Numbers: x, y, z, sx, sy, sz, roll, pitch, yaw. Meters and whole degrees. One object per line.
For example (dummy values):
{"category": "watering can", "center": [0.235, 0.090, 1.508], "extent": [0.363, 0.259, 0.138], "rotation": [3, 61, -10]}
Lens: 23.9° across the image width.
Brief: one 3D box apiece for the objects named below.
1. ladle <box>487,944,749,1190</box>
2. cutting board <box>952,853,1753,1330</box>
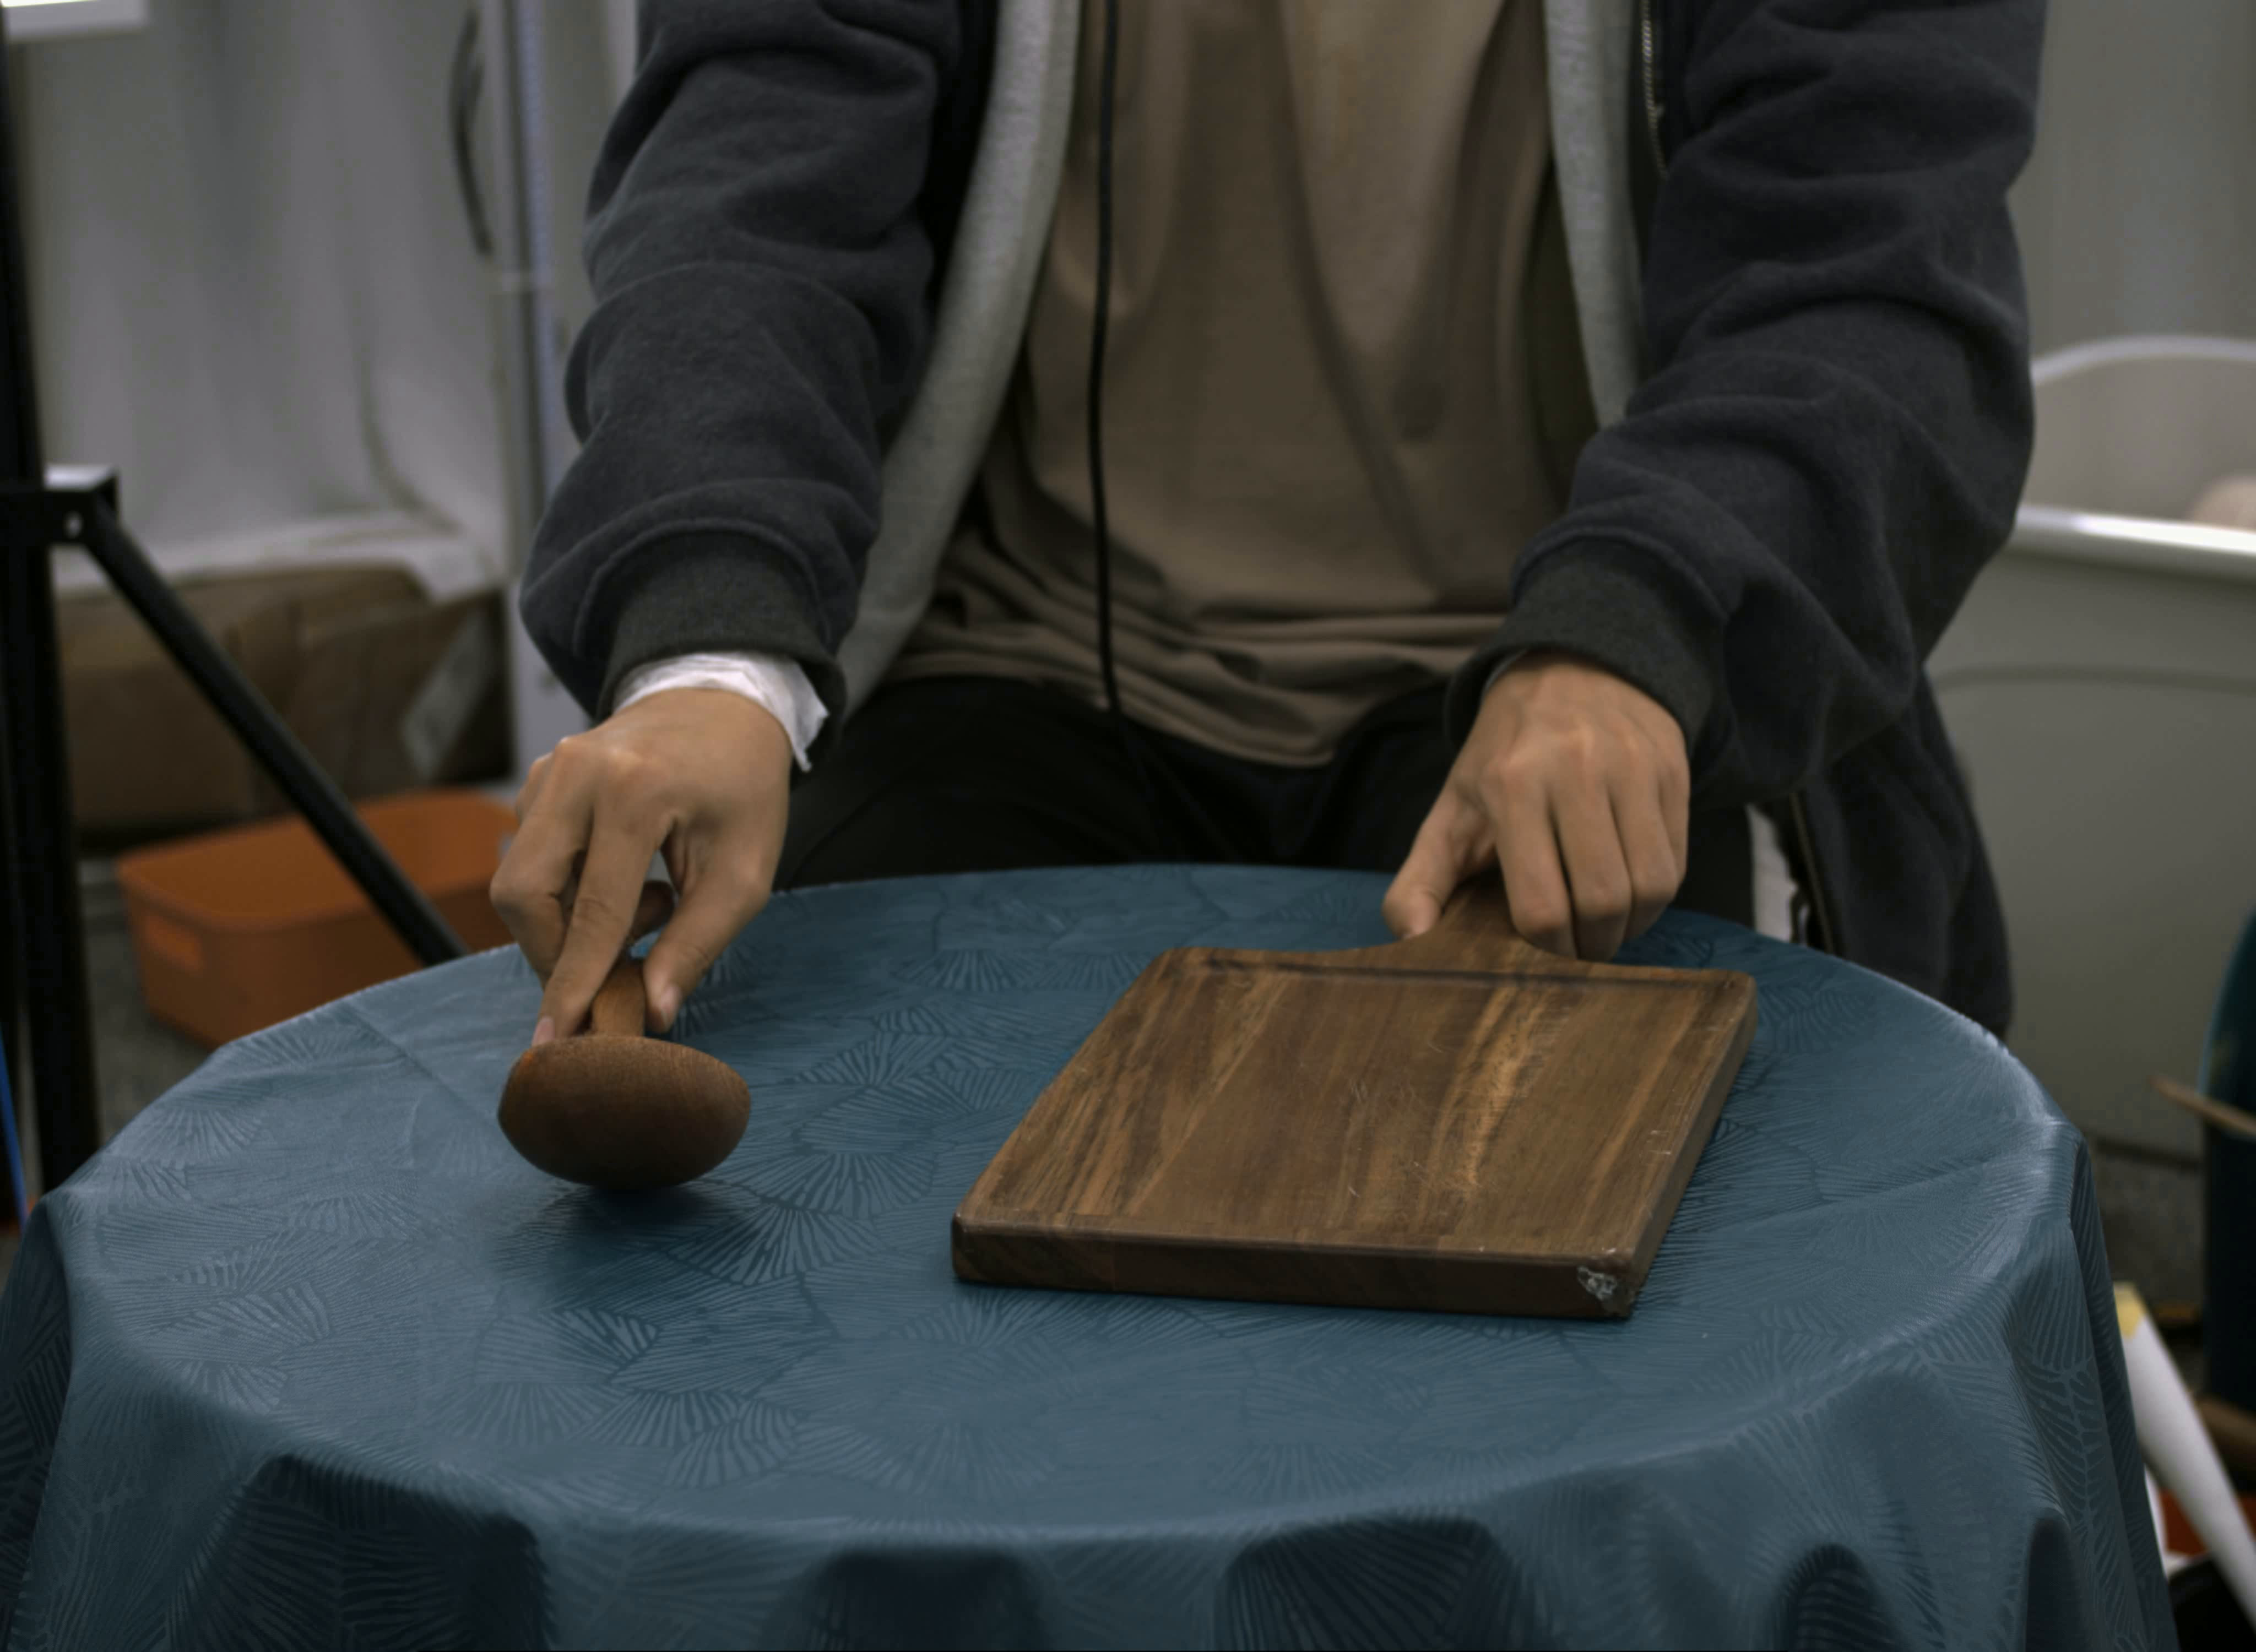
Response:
{"category": "ladle", "center": [-0.158, 0.057, 1.648], "extent": [0.076, 0.065, 0.262], "rotation": [9, 14, -7]}
{"category": "cutting board", "center": [0.085, 0.072, 1.619], "extent": [0.202, 0.023, 0.349], "rotation": [3, 18, 15]}
